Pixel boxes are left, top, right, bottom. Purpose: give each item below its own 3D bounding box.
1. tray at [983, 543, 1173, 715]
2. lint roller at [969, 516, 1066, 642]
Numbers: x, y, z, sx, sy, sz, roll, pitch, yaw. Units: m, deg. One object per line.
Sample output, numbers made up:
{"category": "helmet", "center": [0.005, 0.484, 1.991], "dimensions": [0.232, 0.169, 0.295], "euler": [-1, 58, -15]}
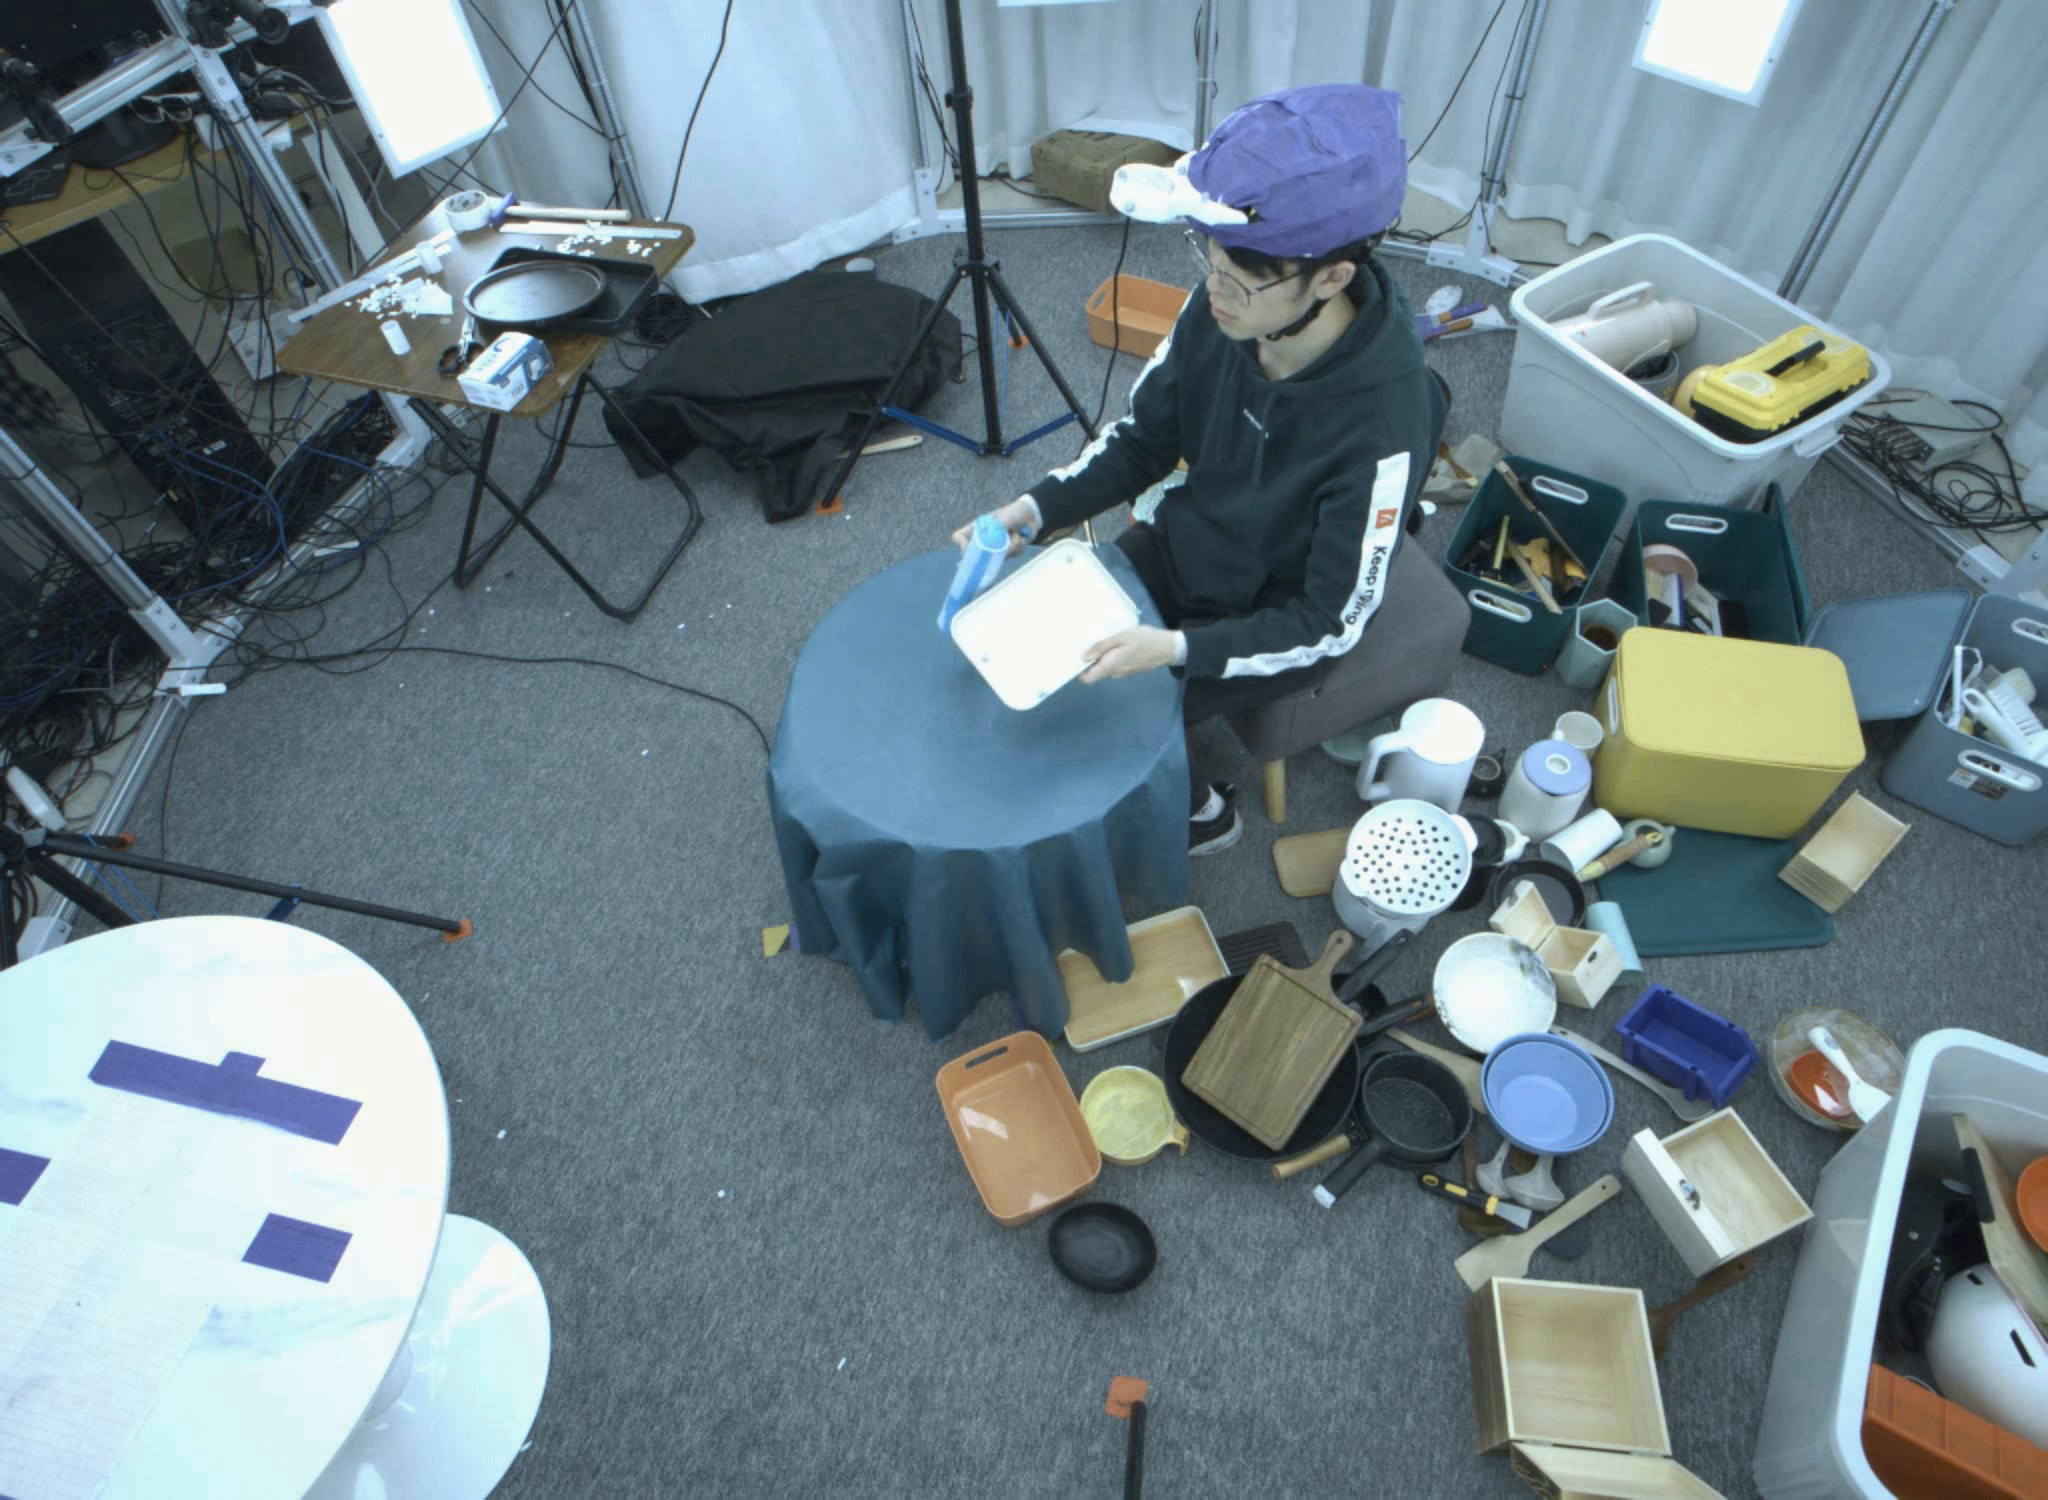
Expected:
{"category": "tray", "center": [0.075, -0.169, 1.710], "dimensions": [0.241, 0.017, 0.170], "euler": [-36, 85, -13]}
{"category": "lint roller", "center": [-0.004, -0.272, 1.777], "dimensions": [0.068, 0.228, 0.180], "euler": [30, 48, 3]}
